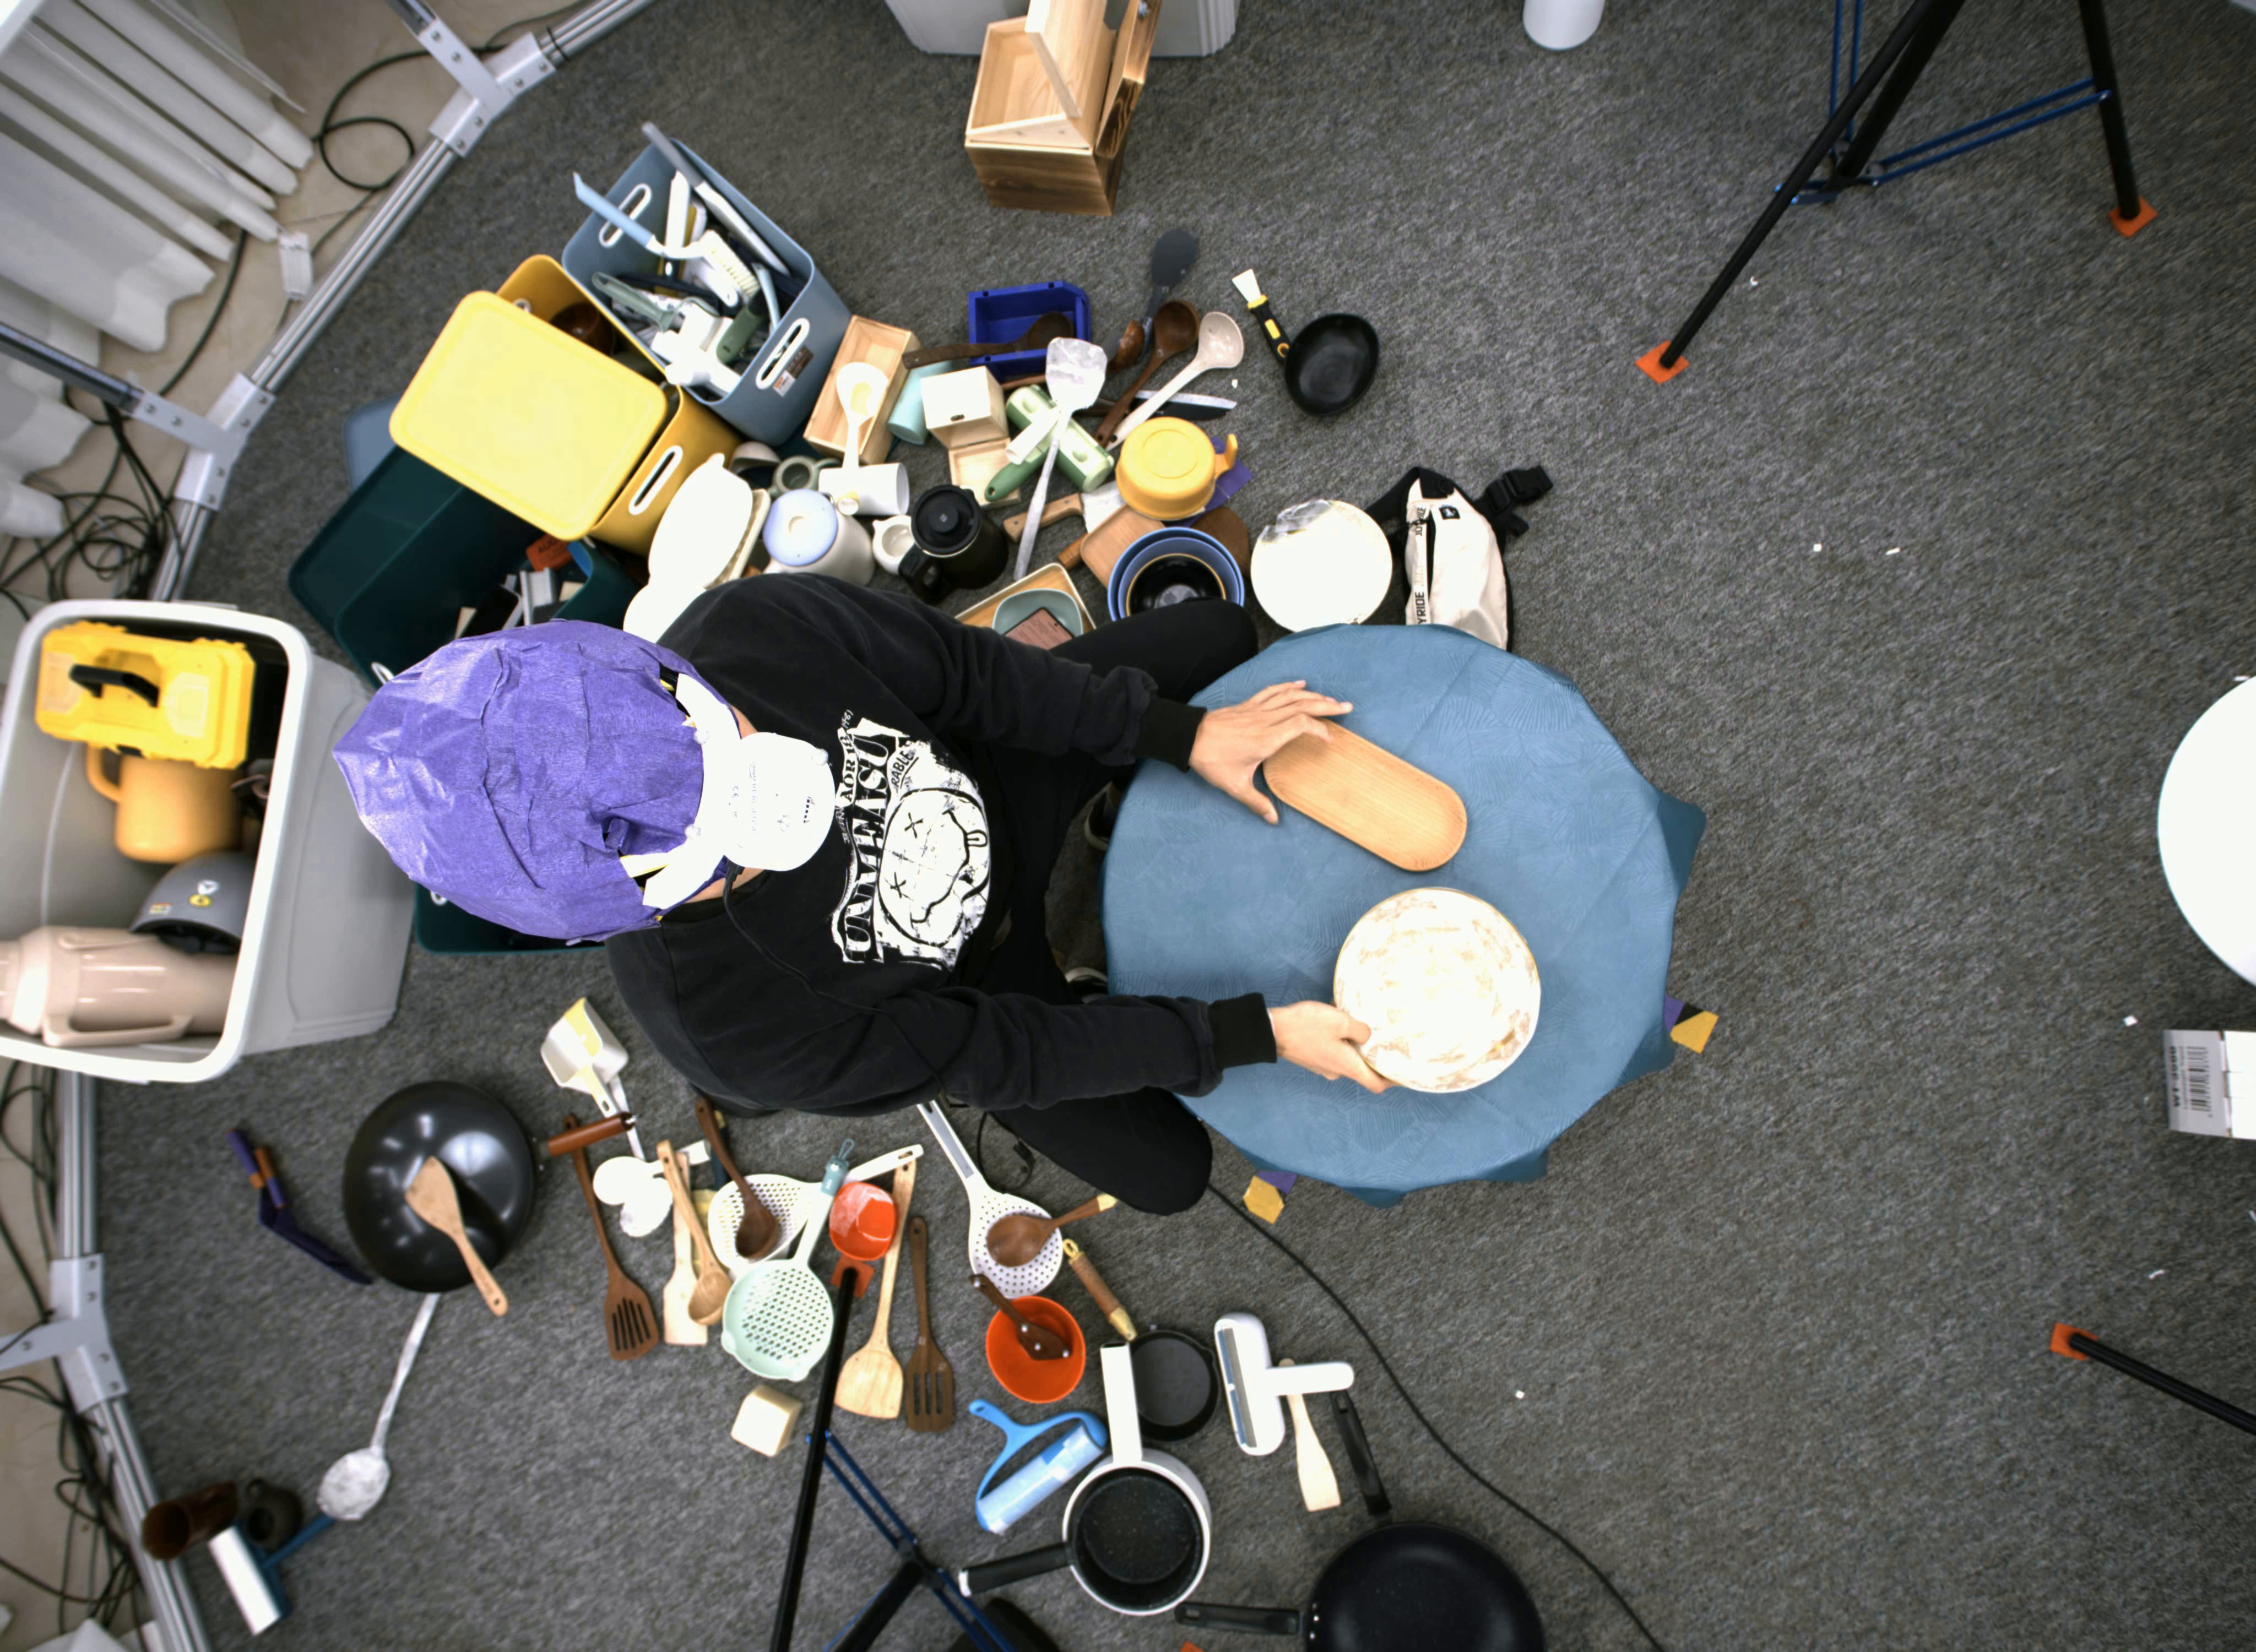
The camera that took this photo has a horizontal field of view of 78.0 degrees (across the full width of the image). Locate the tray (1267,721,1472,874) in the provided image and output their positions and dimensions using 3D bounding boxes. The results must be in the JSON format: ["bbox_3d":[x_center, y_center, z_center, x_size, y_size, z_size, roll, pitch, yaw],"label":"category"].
[{"bbox_3d":[0.256,-0.032,1.467,0.231,0.020,0.102,29,94,9],"label":"tray"}]

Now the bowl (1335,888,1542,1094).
[{"bbox_3d":[0.314,0.158,1.399,0.216,0.094,0.215,0,92,16],"label":"bowl"}]
